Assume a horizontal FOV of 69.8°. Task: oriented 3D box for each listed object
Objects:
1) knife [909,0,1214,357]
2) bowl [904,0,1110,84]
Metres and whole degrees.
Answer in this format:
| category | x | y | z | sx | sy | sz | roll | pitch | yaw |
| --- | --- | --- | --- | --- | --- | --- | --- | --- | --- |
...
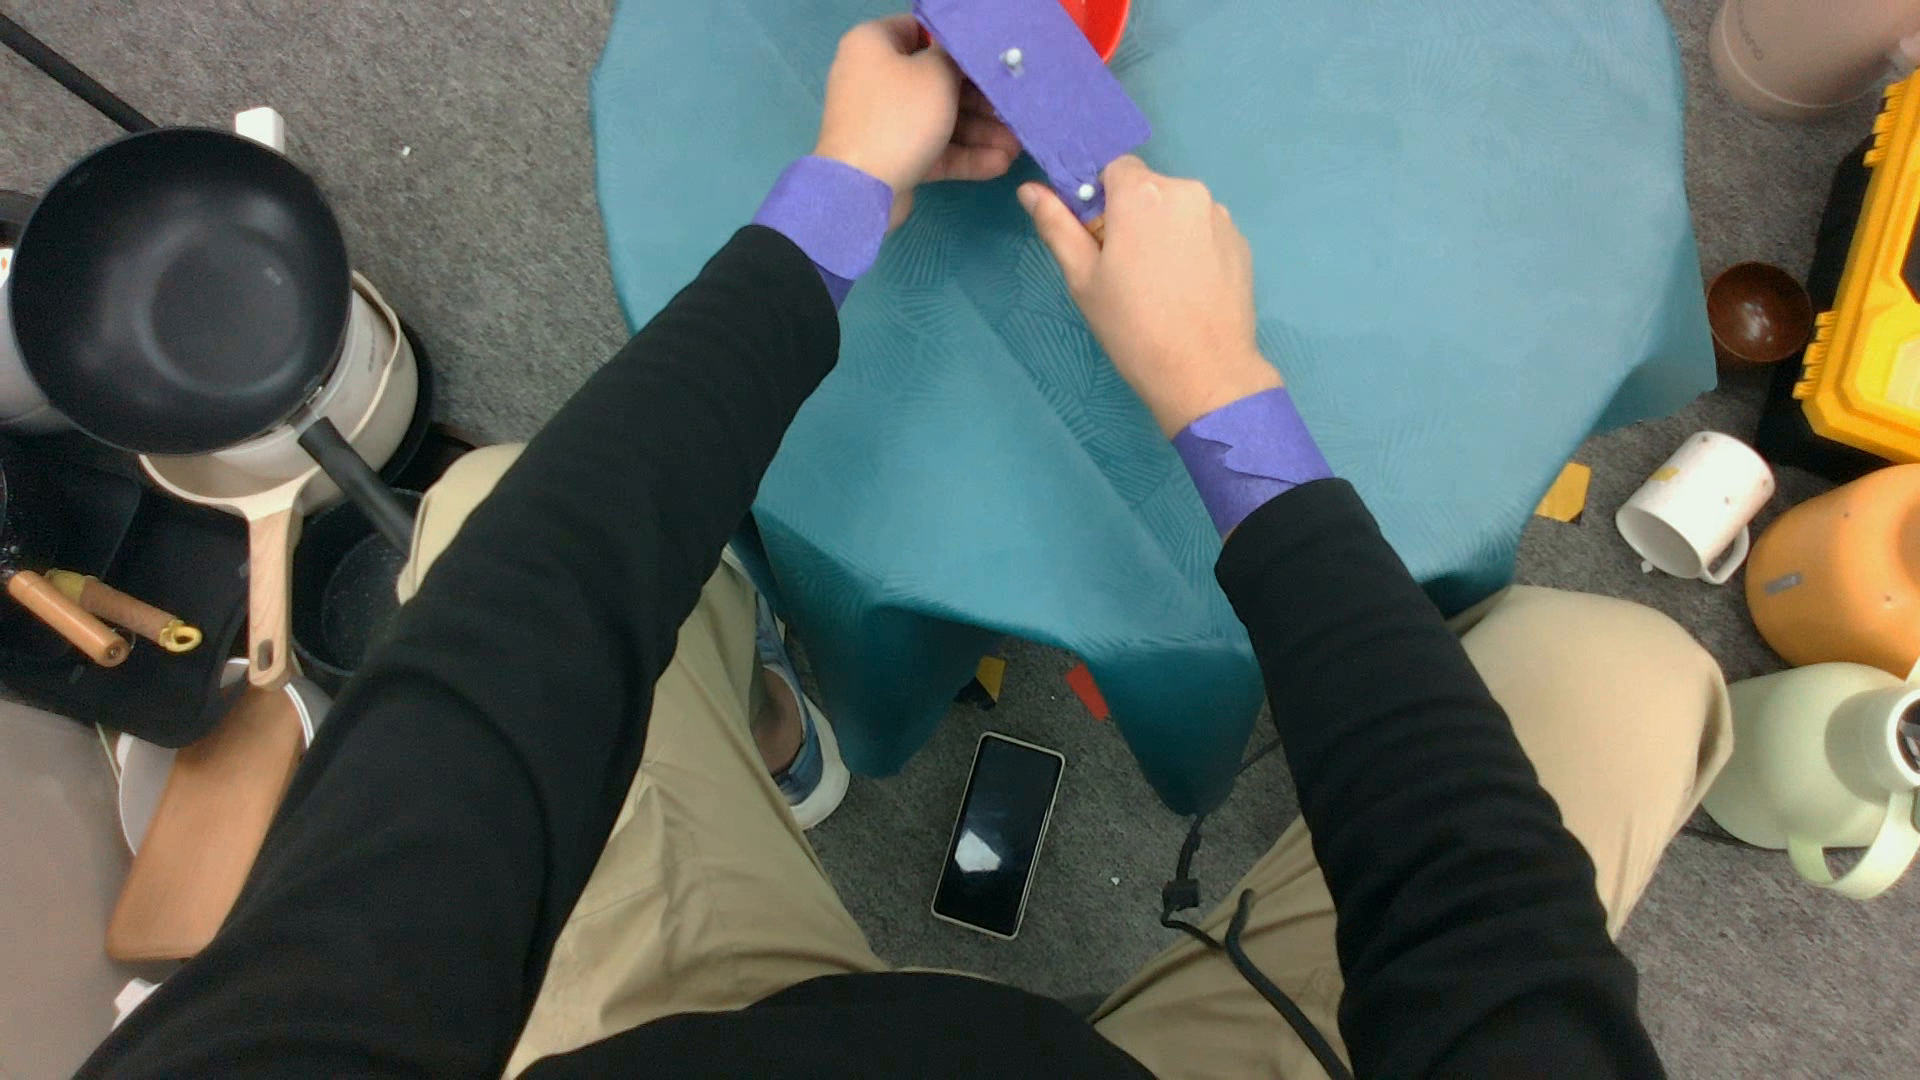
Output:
| category | x | y | z | sx | sy | sz | roll | pitch | yaw |
| --- | --- | --- | --- | --- | --- | --- | --- | --- | --- |
| knife | 0.037 | -0.237 | 0.685 | 0.315 | 0.032 | 0.104 | 52 | 53 | -6 |
| bowl | 0.026 | -0.291 | 0.749 | 0.119 | 0.051 | 0.119 | 0 | 76 | 0 |
